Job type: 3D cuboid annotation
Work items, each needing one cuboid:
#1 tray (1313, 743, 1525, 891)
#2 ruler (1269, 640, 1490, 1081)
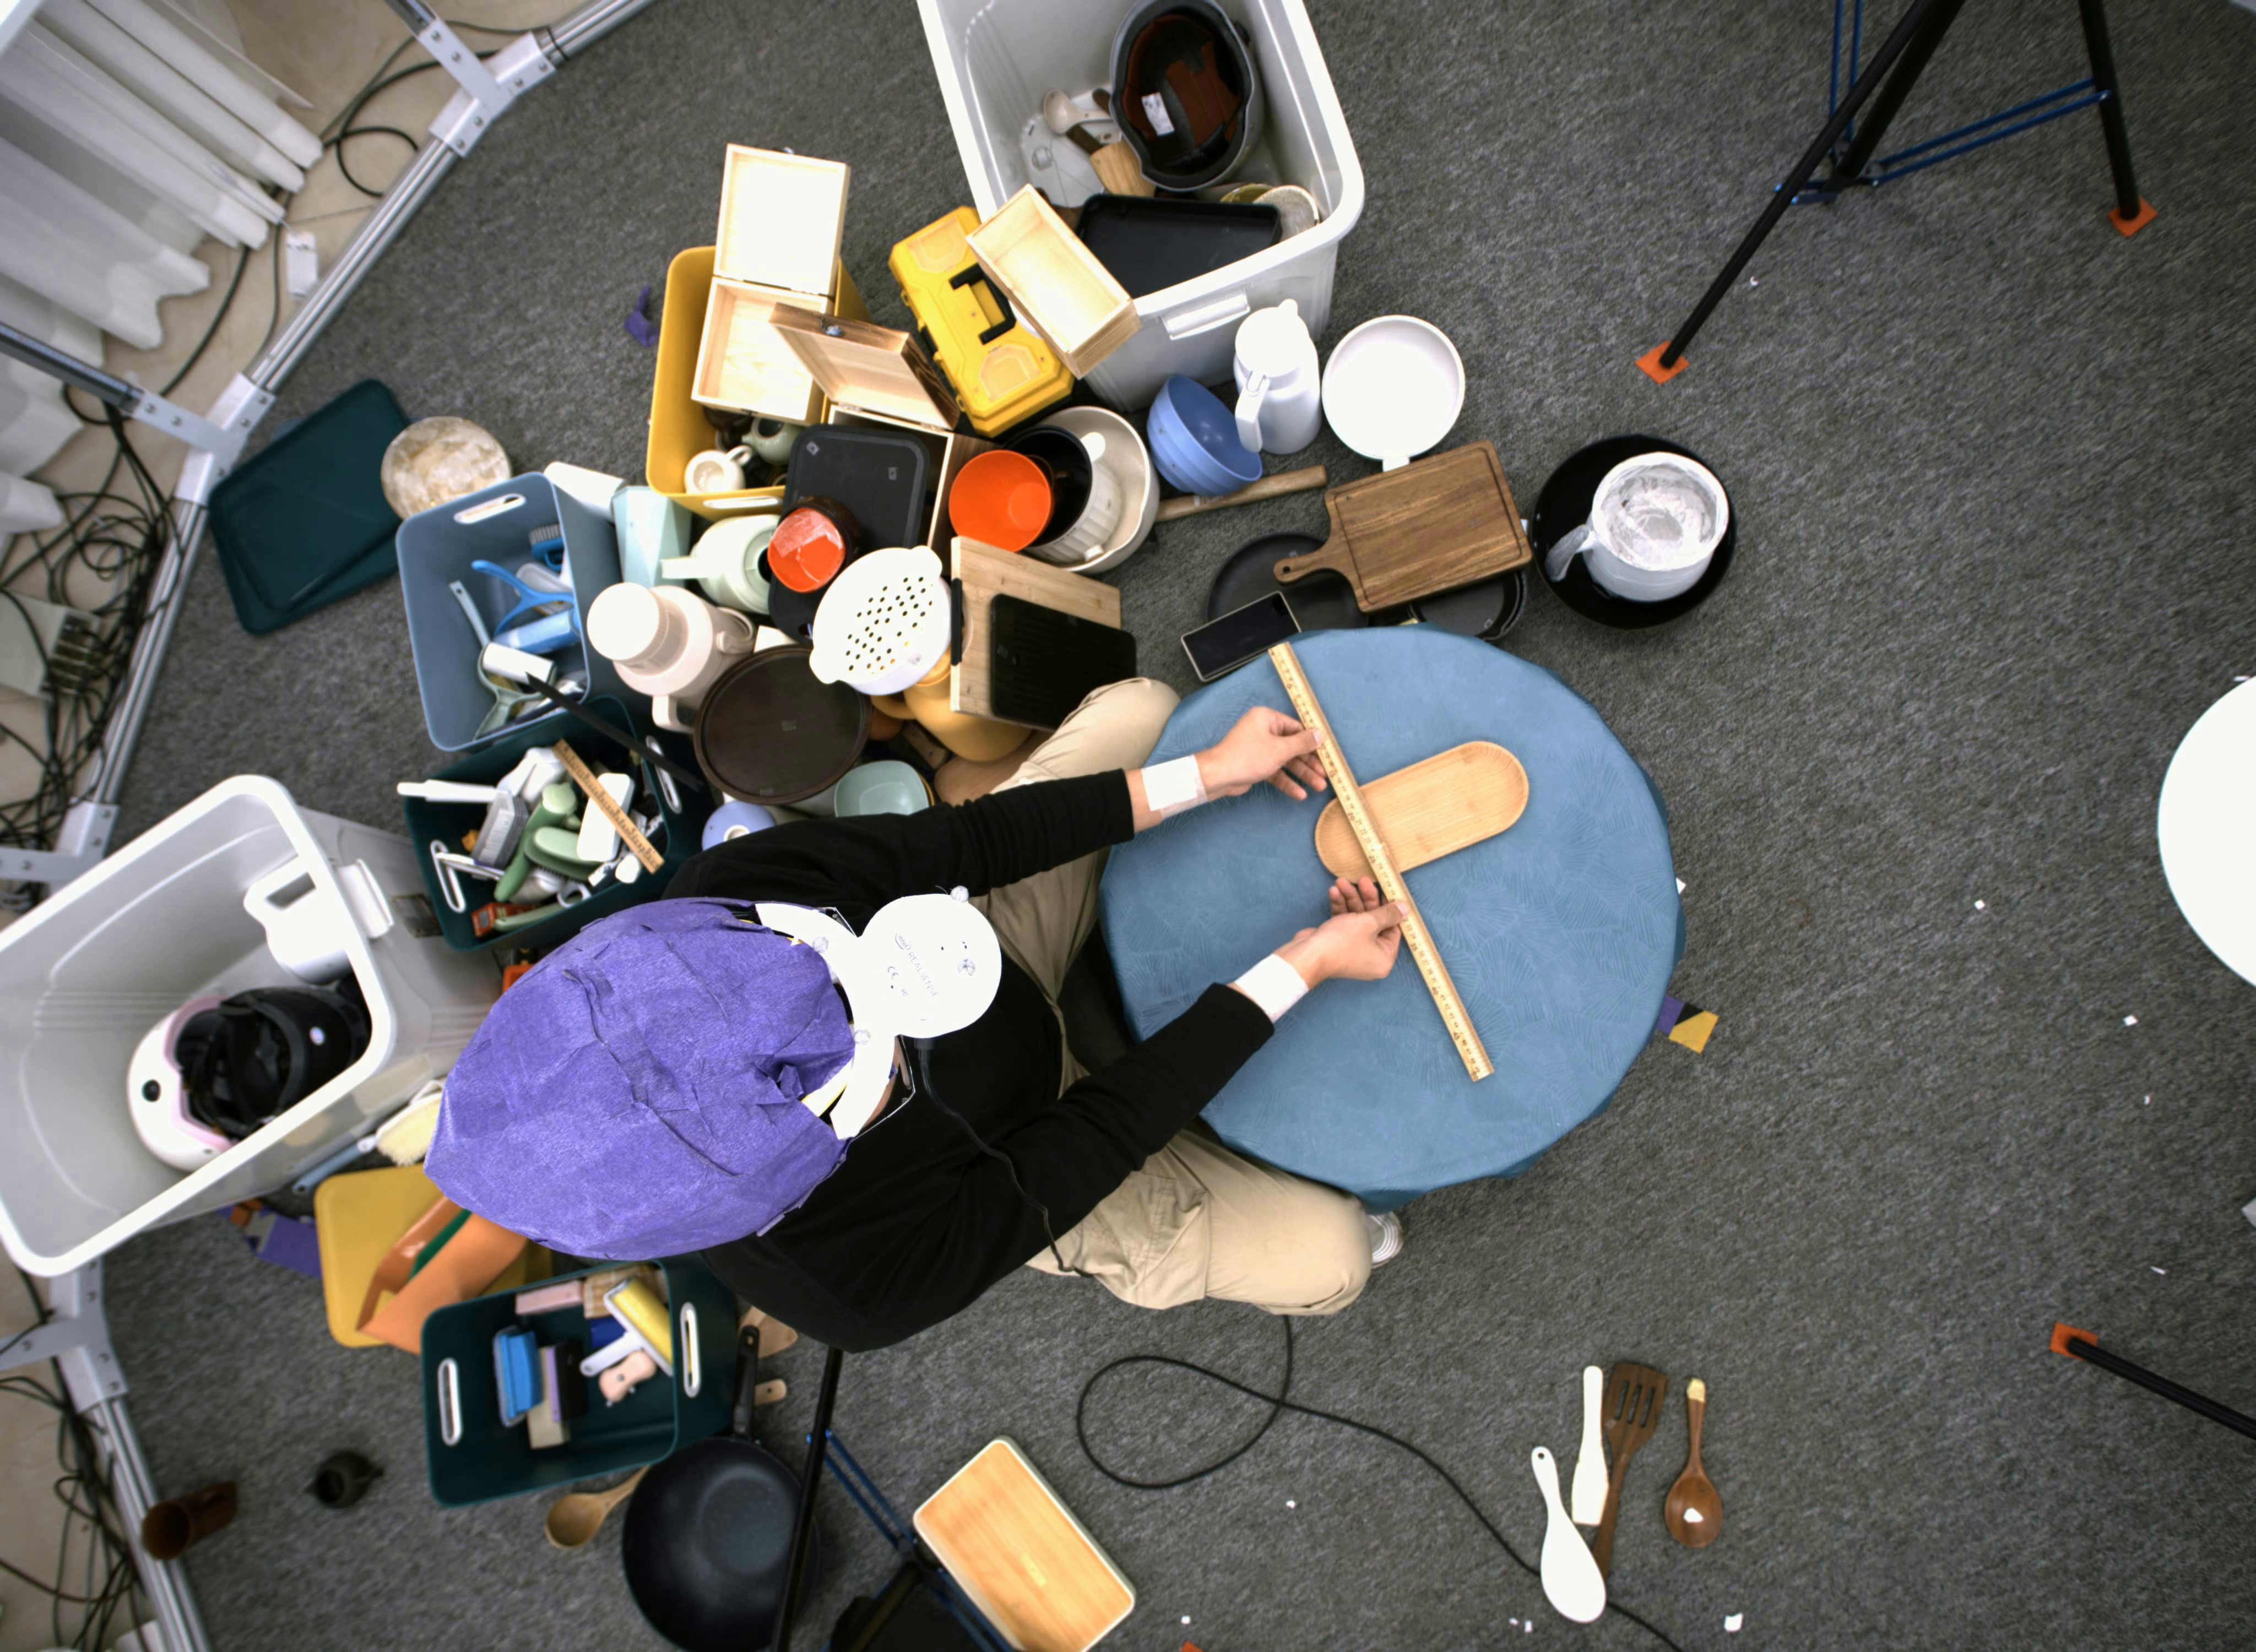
[{"bbox_3d":[0.305,-0.011,1.449,0.233,0.020,0.101,-25,82,10],"label":"tray"},{"bbox_3d":[0.261,0.031,1.443,0.027,0.006,0.498,-23,84,-8],"label":"ruler"}]
